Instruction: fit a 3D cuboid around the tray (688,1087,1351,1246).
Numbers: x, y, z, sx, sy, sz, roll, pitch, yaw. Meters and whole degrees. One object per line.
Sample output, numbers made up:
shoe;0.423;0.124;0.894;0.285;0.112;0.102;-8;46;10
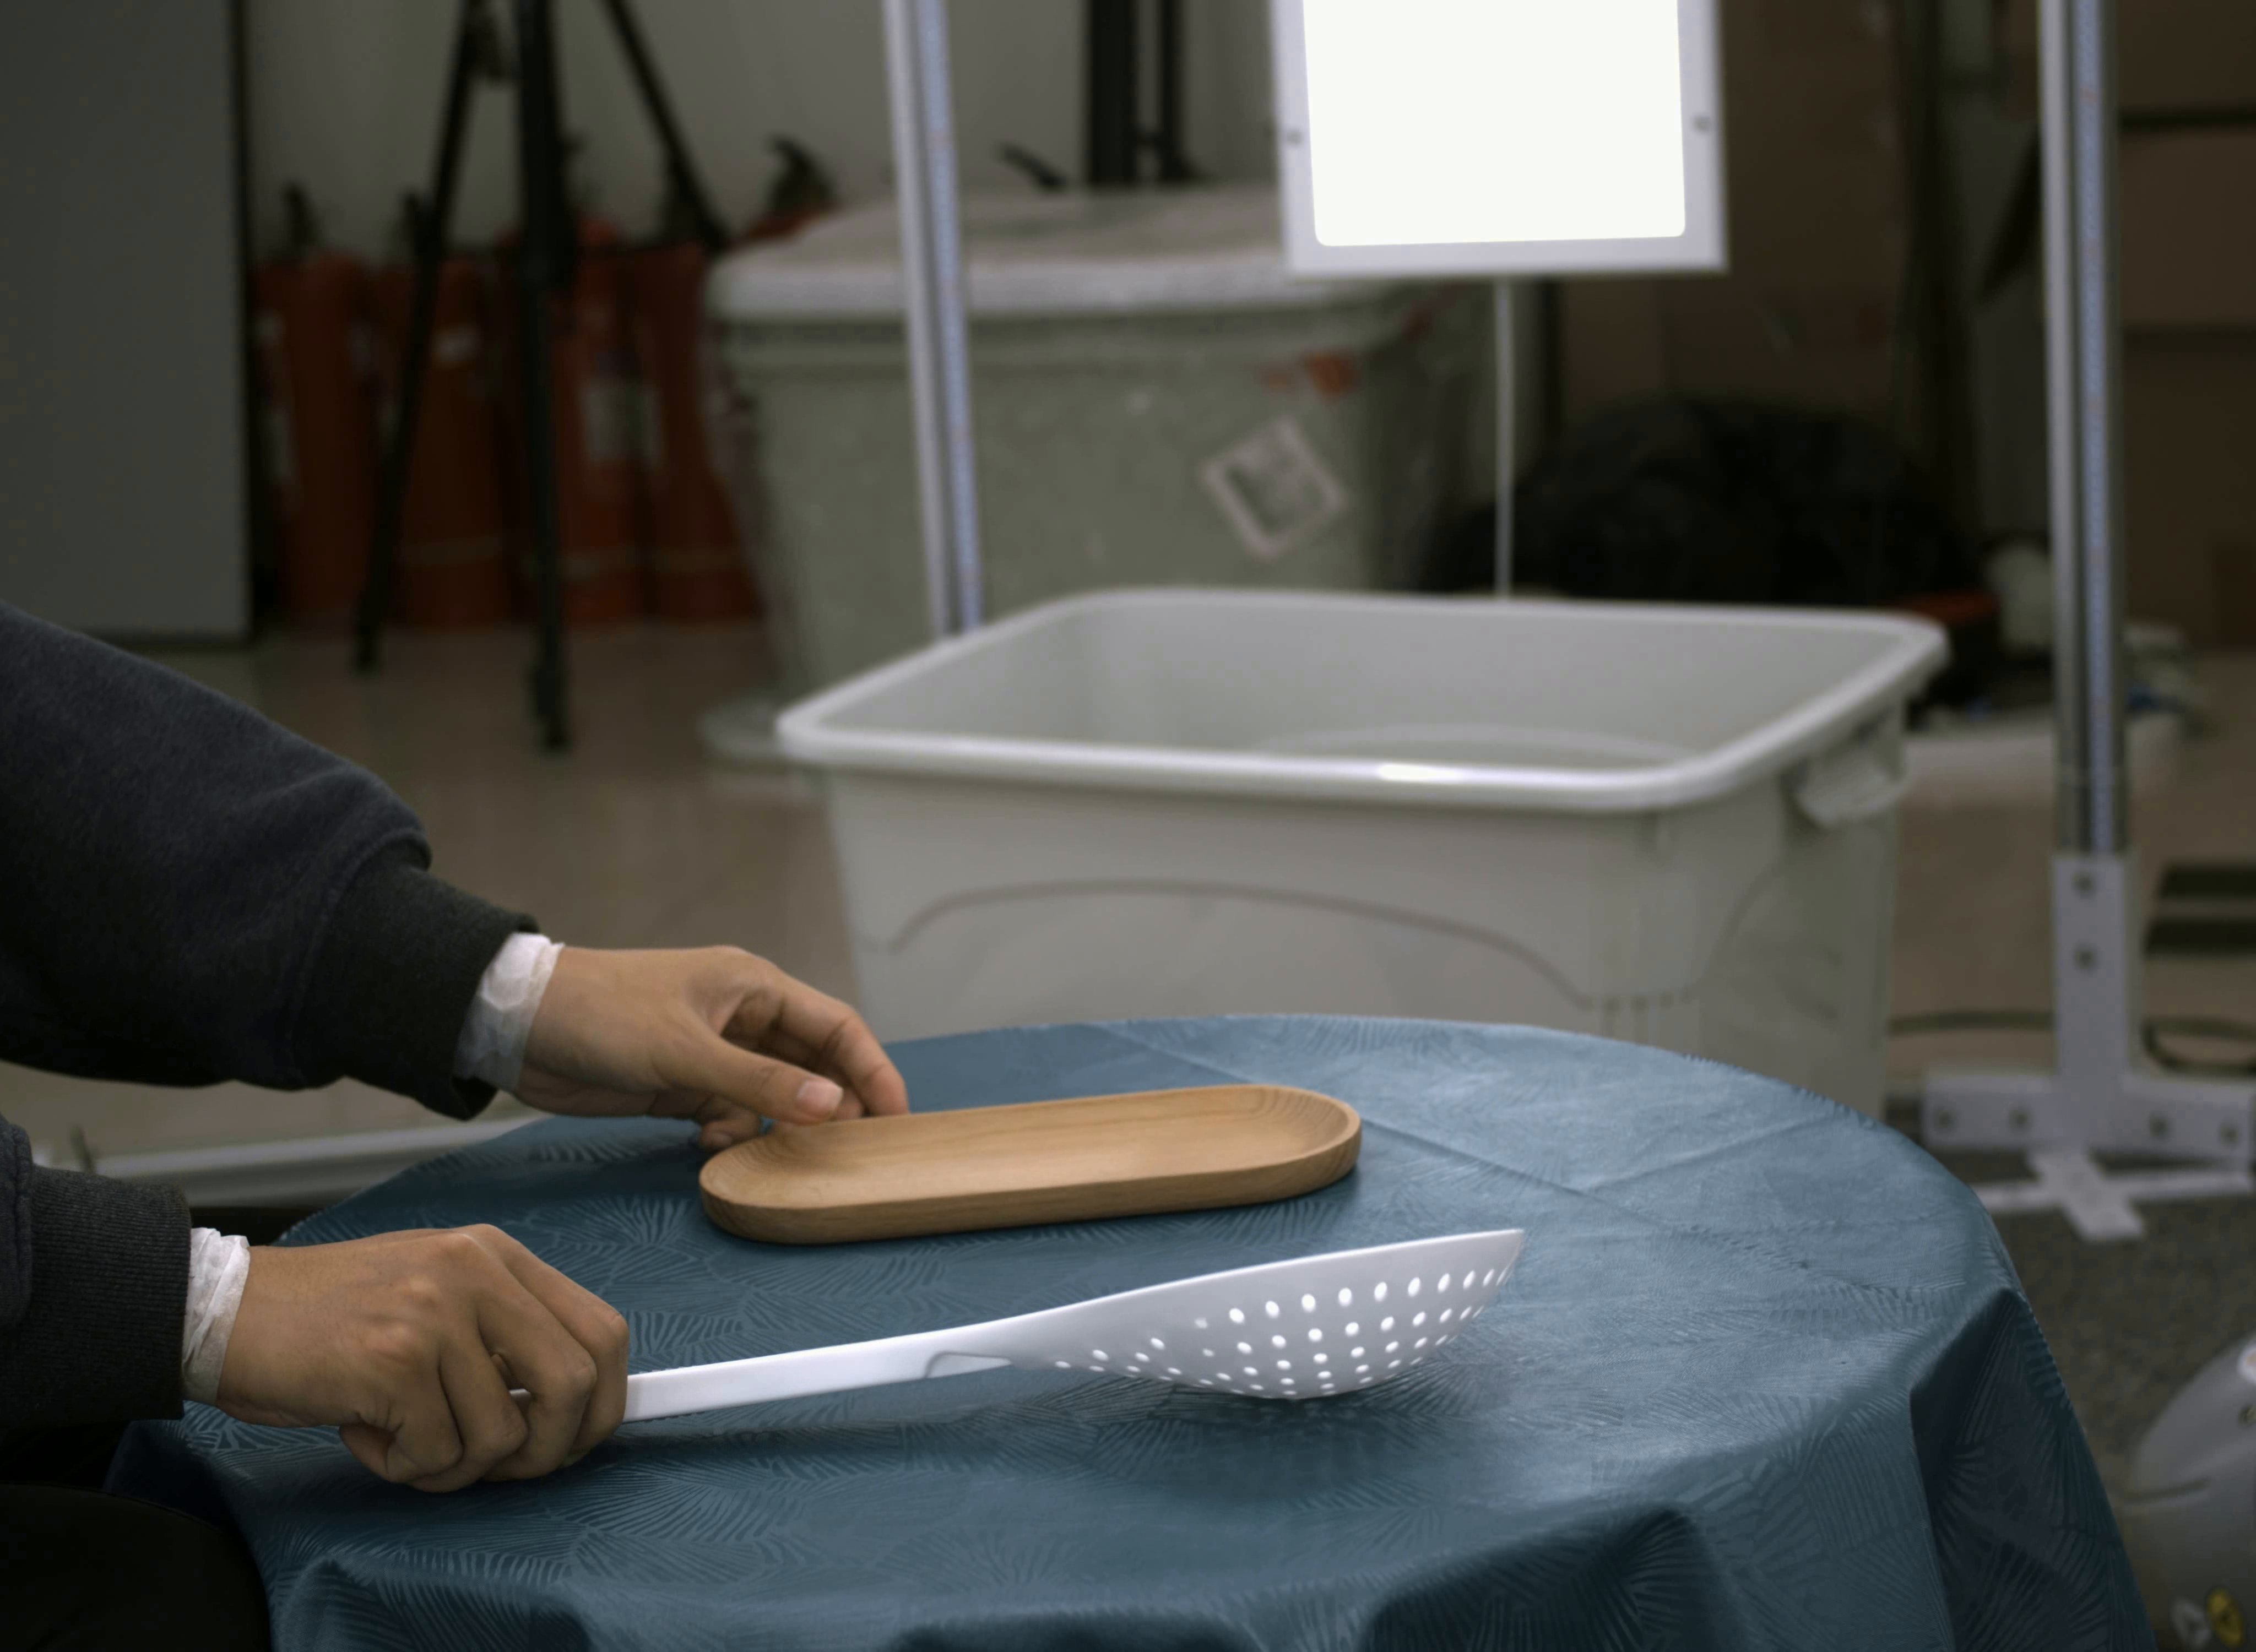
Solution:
tray;-0.037;0.118;1.909;0.230;0.020;0.102;-6;13;-2

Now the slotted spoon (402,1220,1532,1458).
slotted spoon;-0.049;0.157;1.678;0.350;0.046;0.135;-5;-9;6
